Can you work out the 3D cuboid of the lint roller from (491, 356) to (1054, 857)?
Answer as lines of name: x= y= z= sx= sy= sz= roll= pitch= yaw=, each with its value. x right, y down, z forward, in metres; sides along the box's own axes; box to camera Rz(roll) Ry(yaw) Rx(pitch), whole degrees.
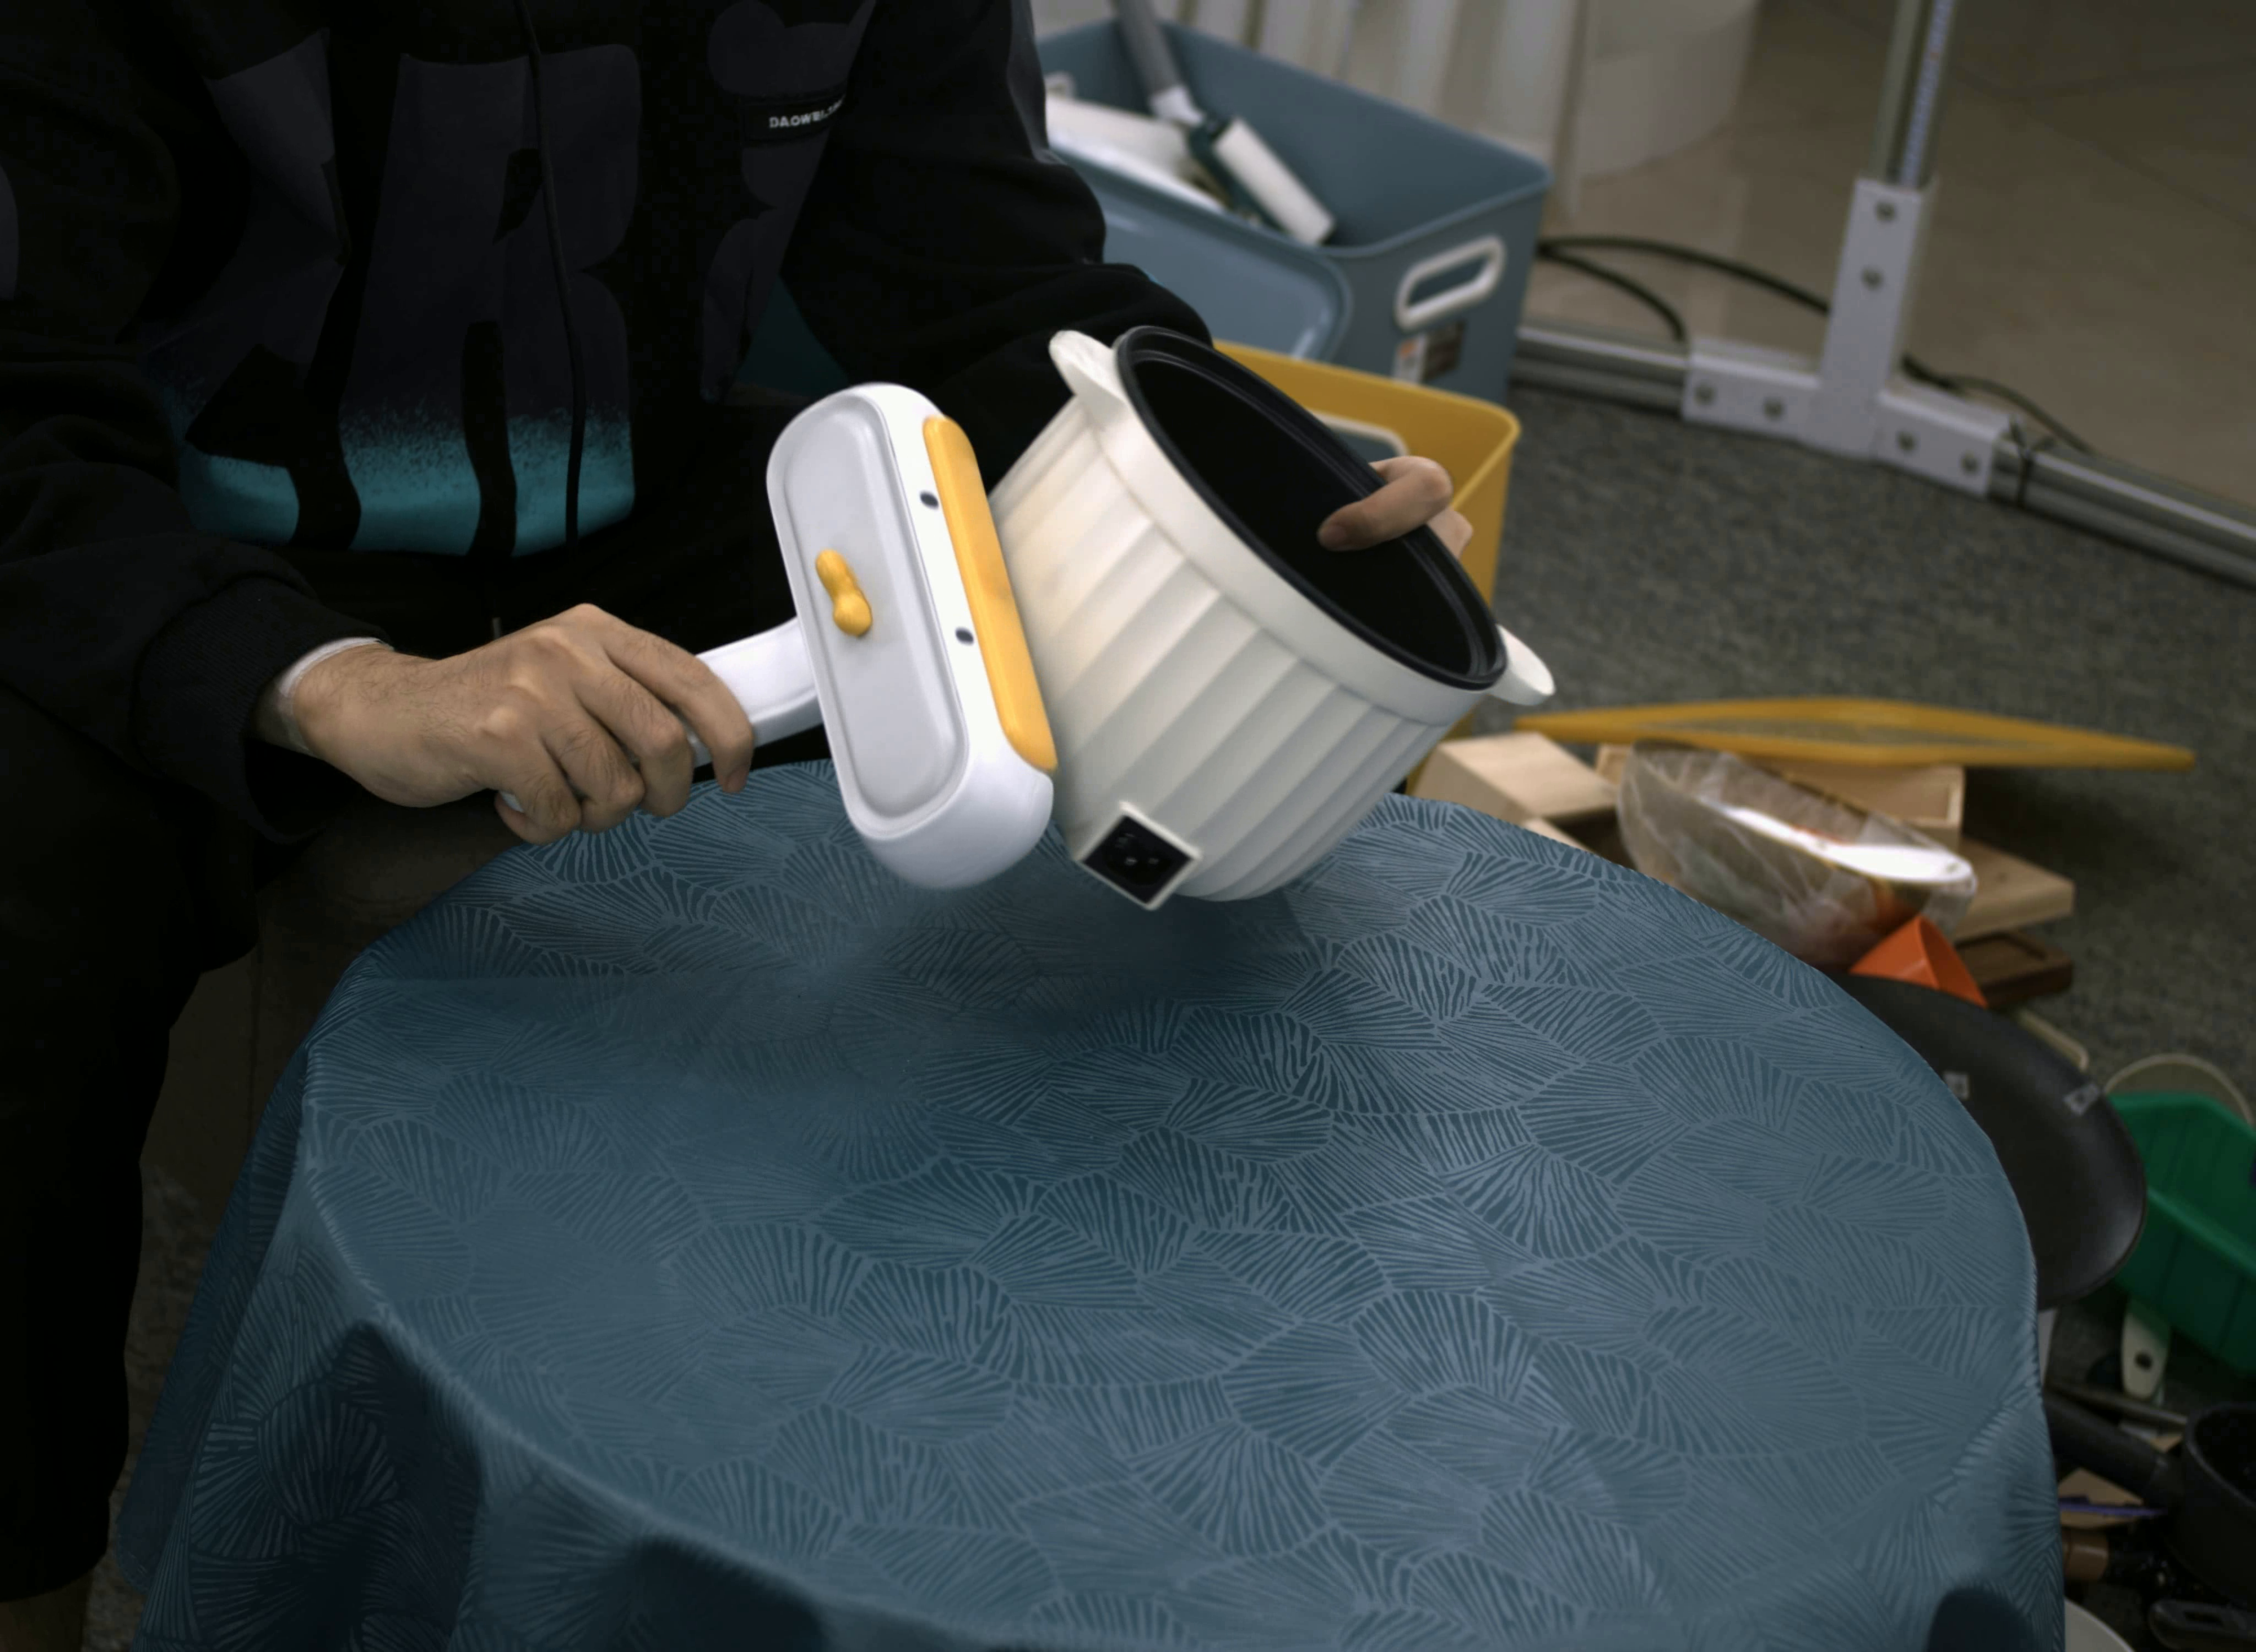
lint roller: x=-0.131 y=-0.051 z=1.849 sx=0.073 sy=0.192 sz=0.194 roll=35 pitch=30 yaw=-58

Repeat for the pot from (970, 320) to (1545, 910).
pot: x=0.019 y=-0.072 z=1.909 sx=0.238 sy=0.142 sz=0.192 roll=35 pitch=23 yaw=-25
